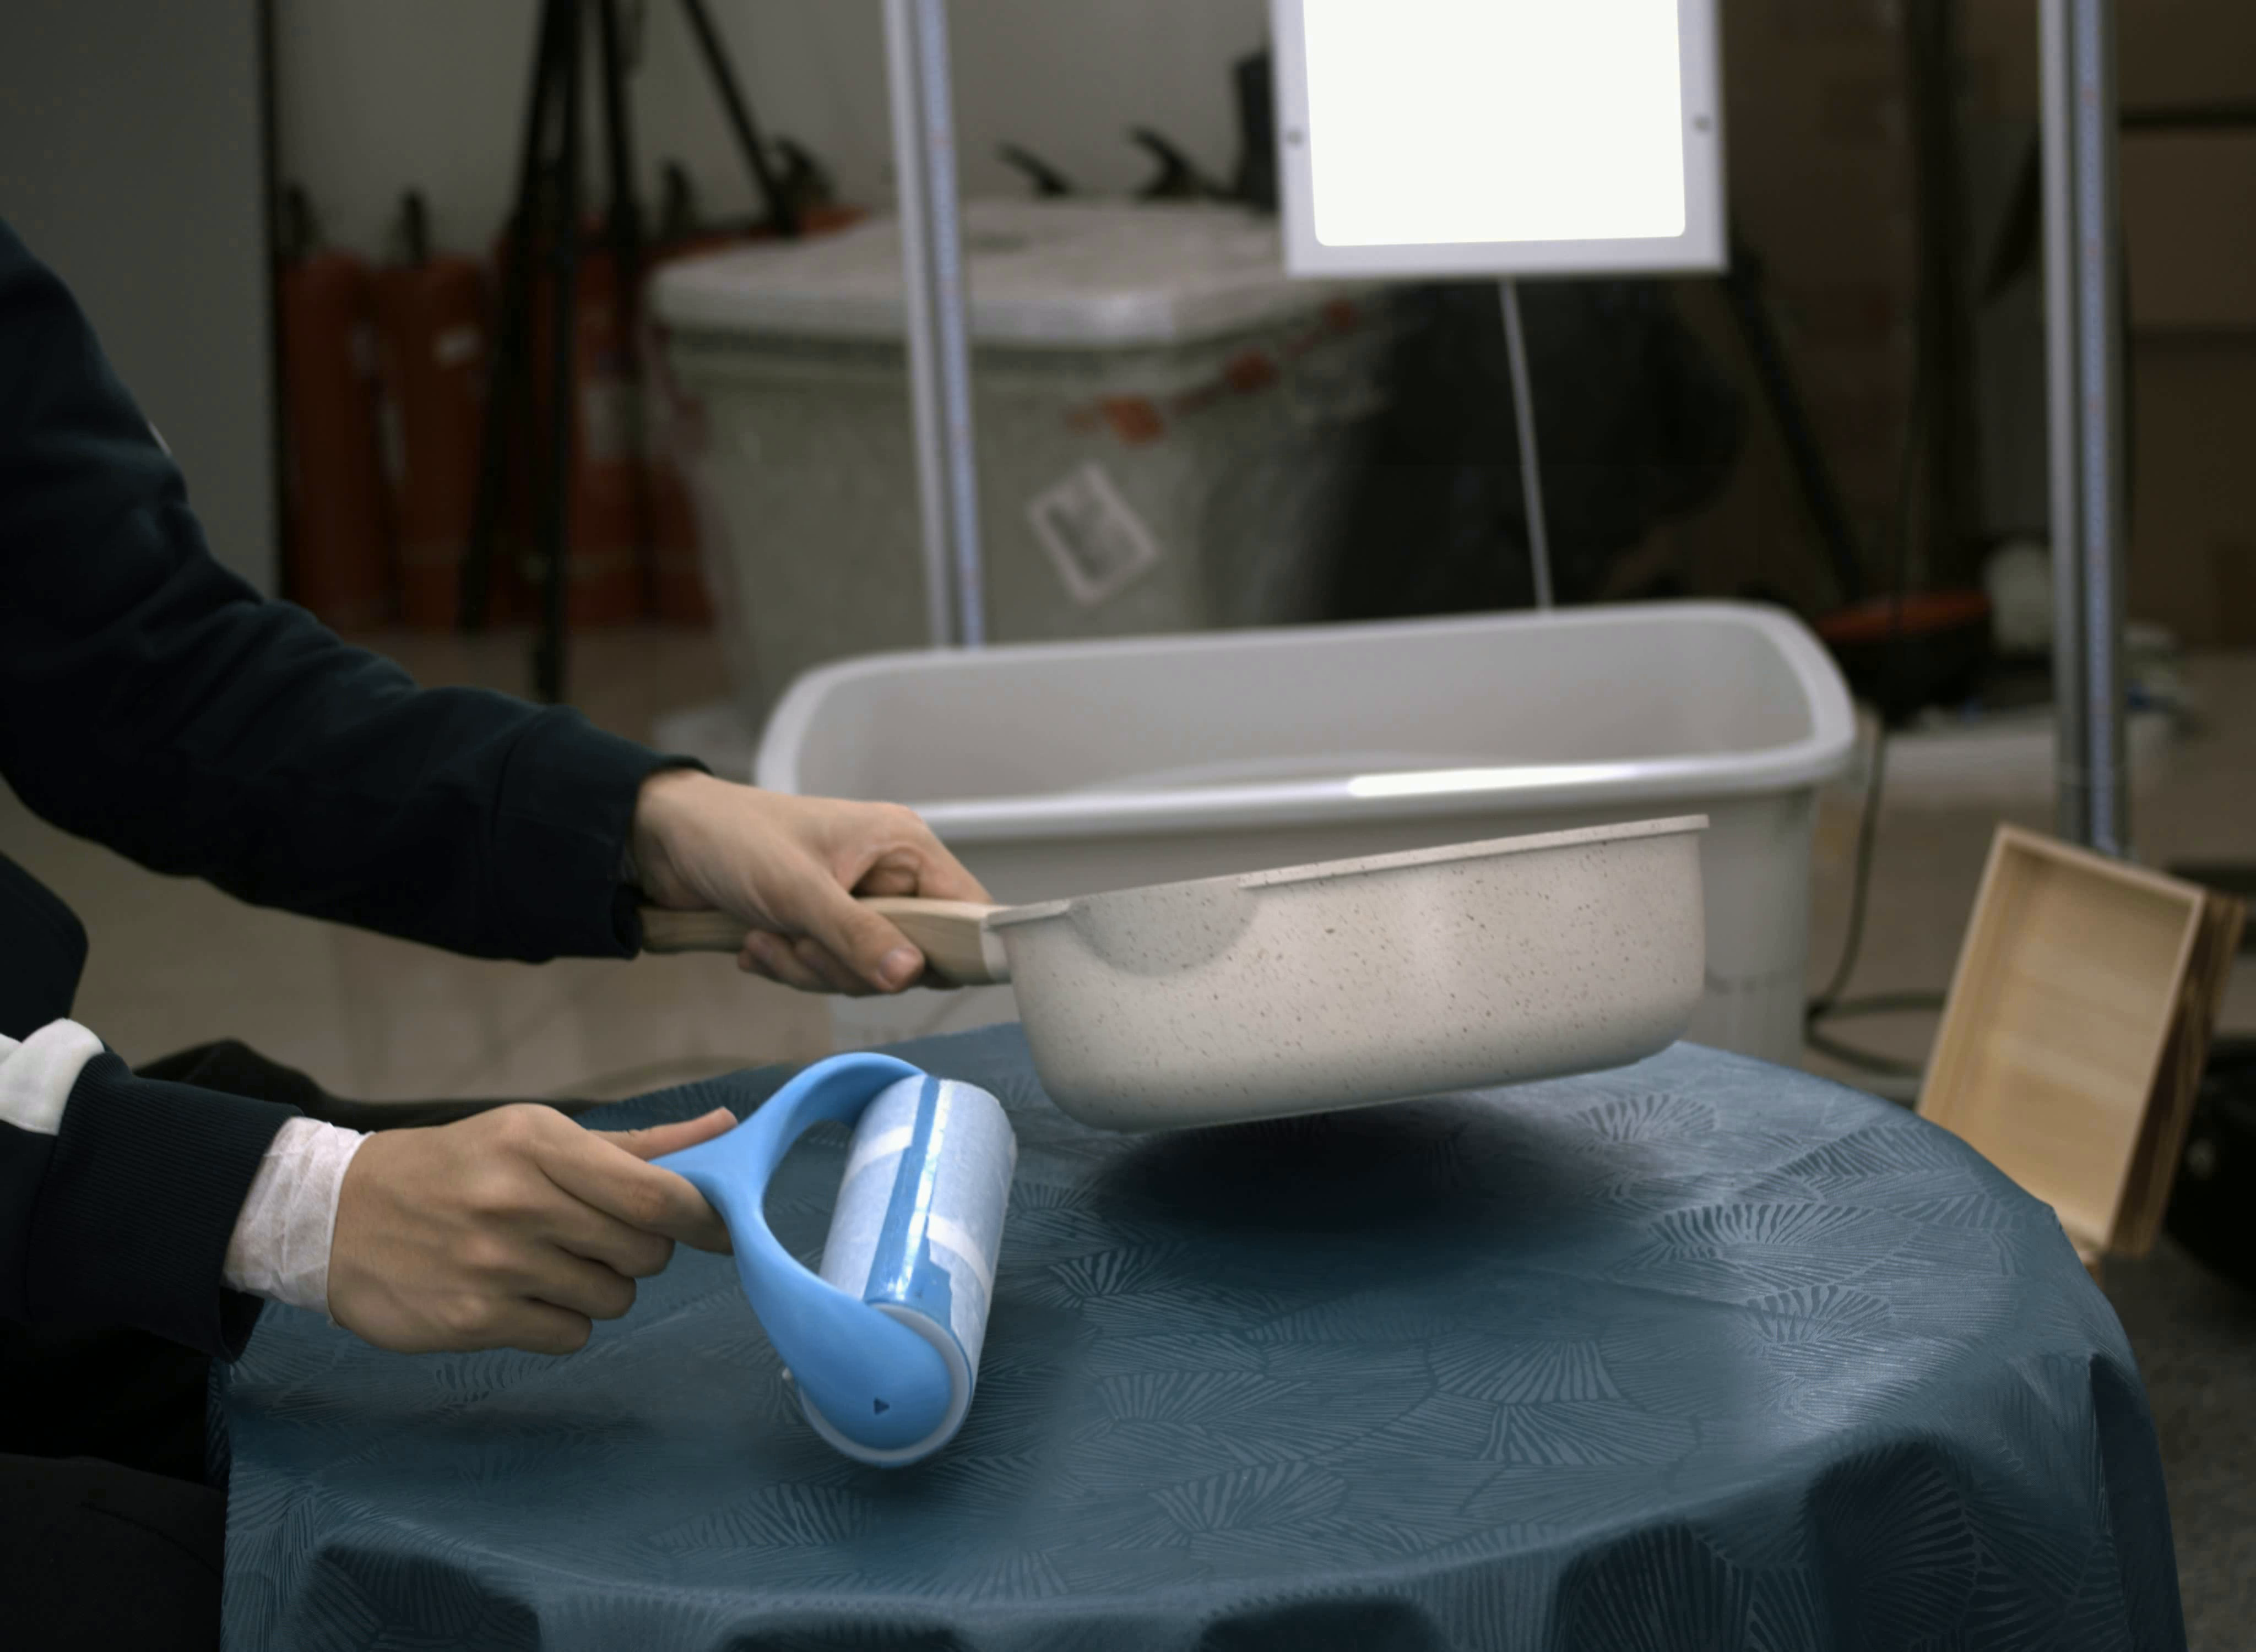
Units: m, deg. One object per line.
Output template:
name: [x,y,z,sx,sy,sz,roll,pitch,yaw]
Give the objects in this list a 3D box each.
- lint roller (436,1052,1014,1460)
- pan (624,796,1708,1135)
lint roller: [-0.126,0.131,1.712,0.180,0.068,0.228,1,19,0]
pan: [0.004,0.056,1.943,0.444,0.102,0.257,-10,-2,34]
